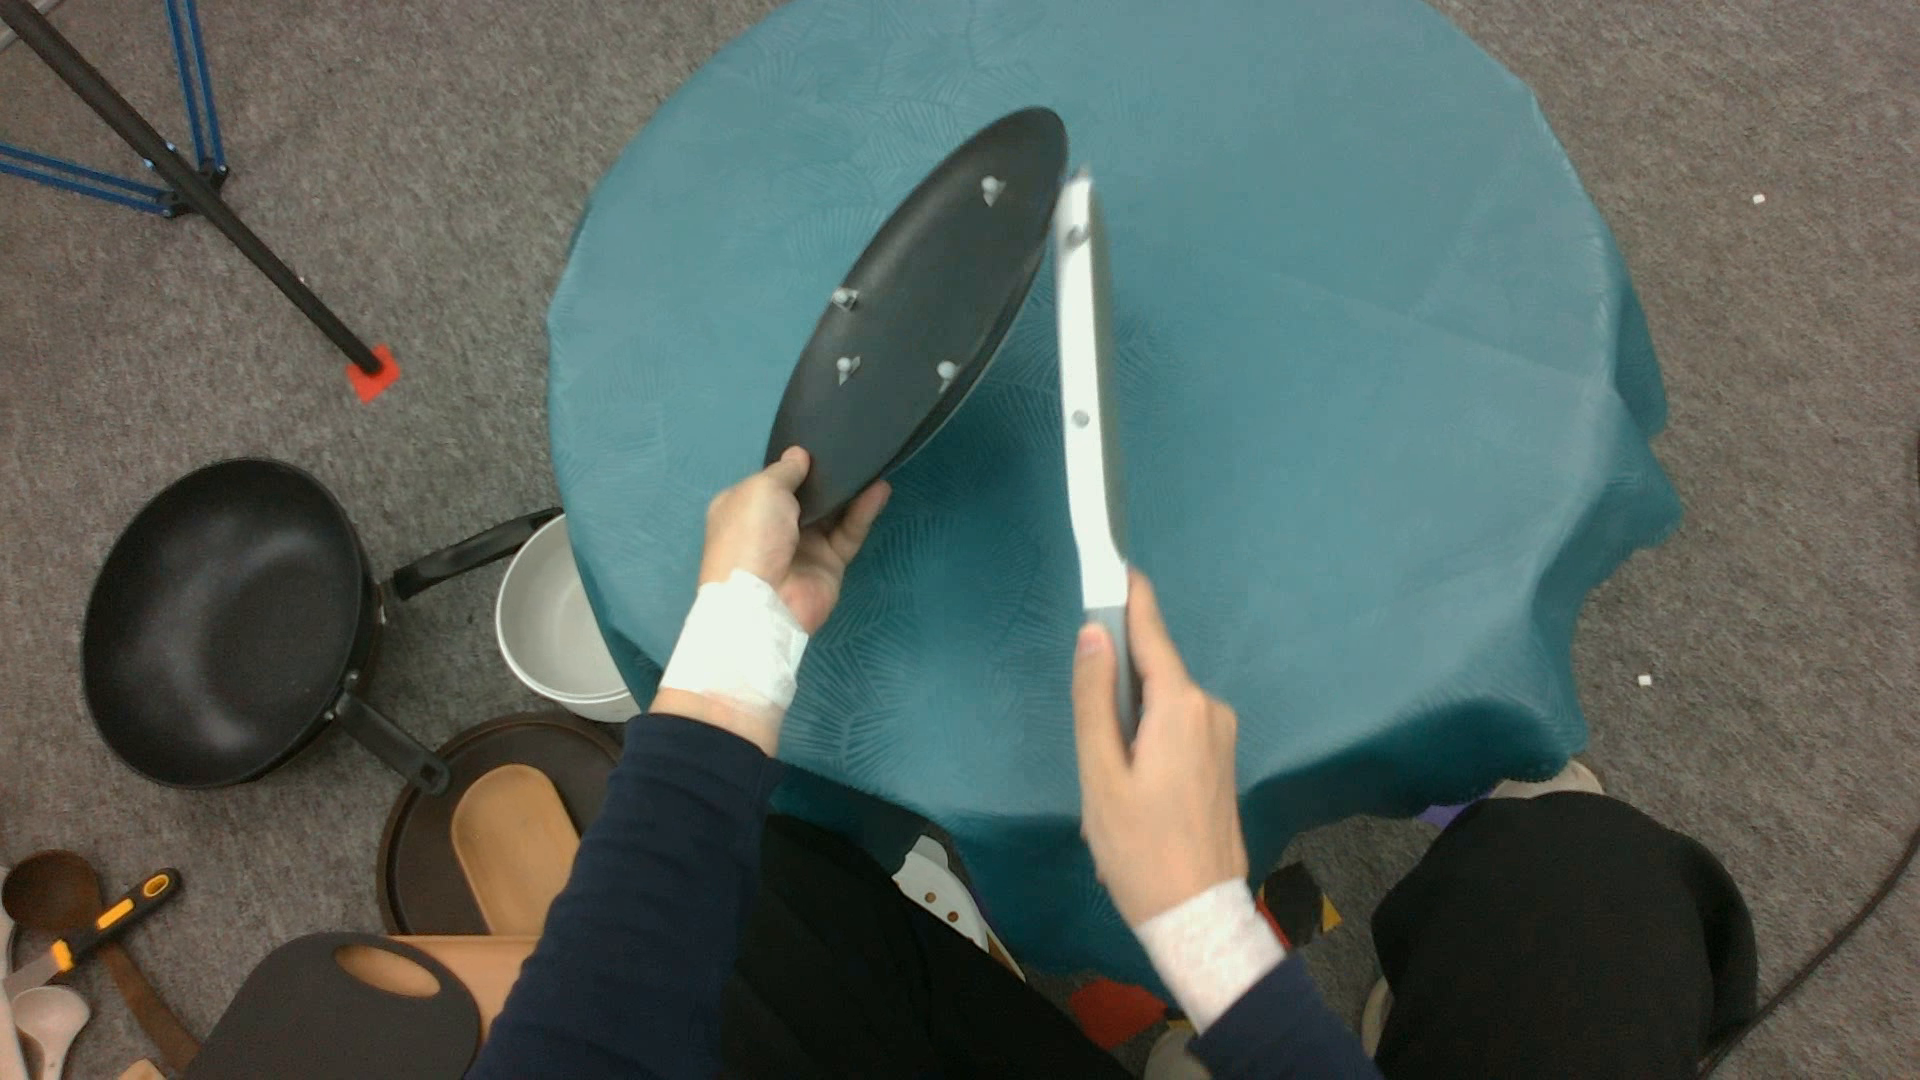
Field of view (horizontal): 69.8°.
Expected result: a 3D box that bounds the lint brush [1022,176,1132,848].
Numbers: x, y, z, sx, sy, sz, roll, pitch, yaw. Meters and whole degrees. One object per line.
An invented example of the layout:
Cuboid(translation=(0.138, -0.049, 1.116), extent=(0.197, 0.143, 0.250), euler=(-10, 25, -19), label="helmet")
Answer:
Cuboid(translation=(0.051, -0.020, 0.616), extent=(0.021, 0.060, 0.309), euler=(-7, 75, 8), label="lint brush")

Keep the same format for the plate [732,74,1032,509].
Cuboid(translation=(-0.037, -0.119, 0.680), extent=(0.023, 0.243, 0.245), euler=(31, 67, -25), label="plate")
